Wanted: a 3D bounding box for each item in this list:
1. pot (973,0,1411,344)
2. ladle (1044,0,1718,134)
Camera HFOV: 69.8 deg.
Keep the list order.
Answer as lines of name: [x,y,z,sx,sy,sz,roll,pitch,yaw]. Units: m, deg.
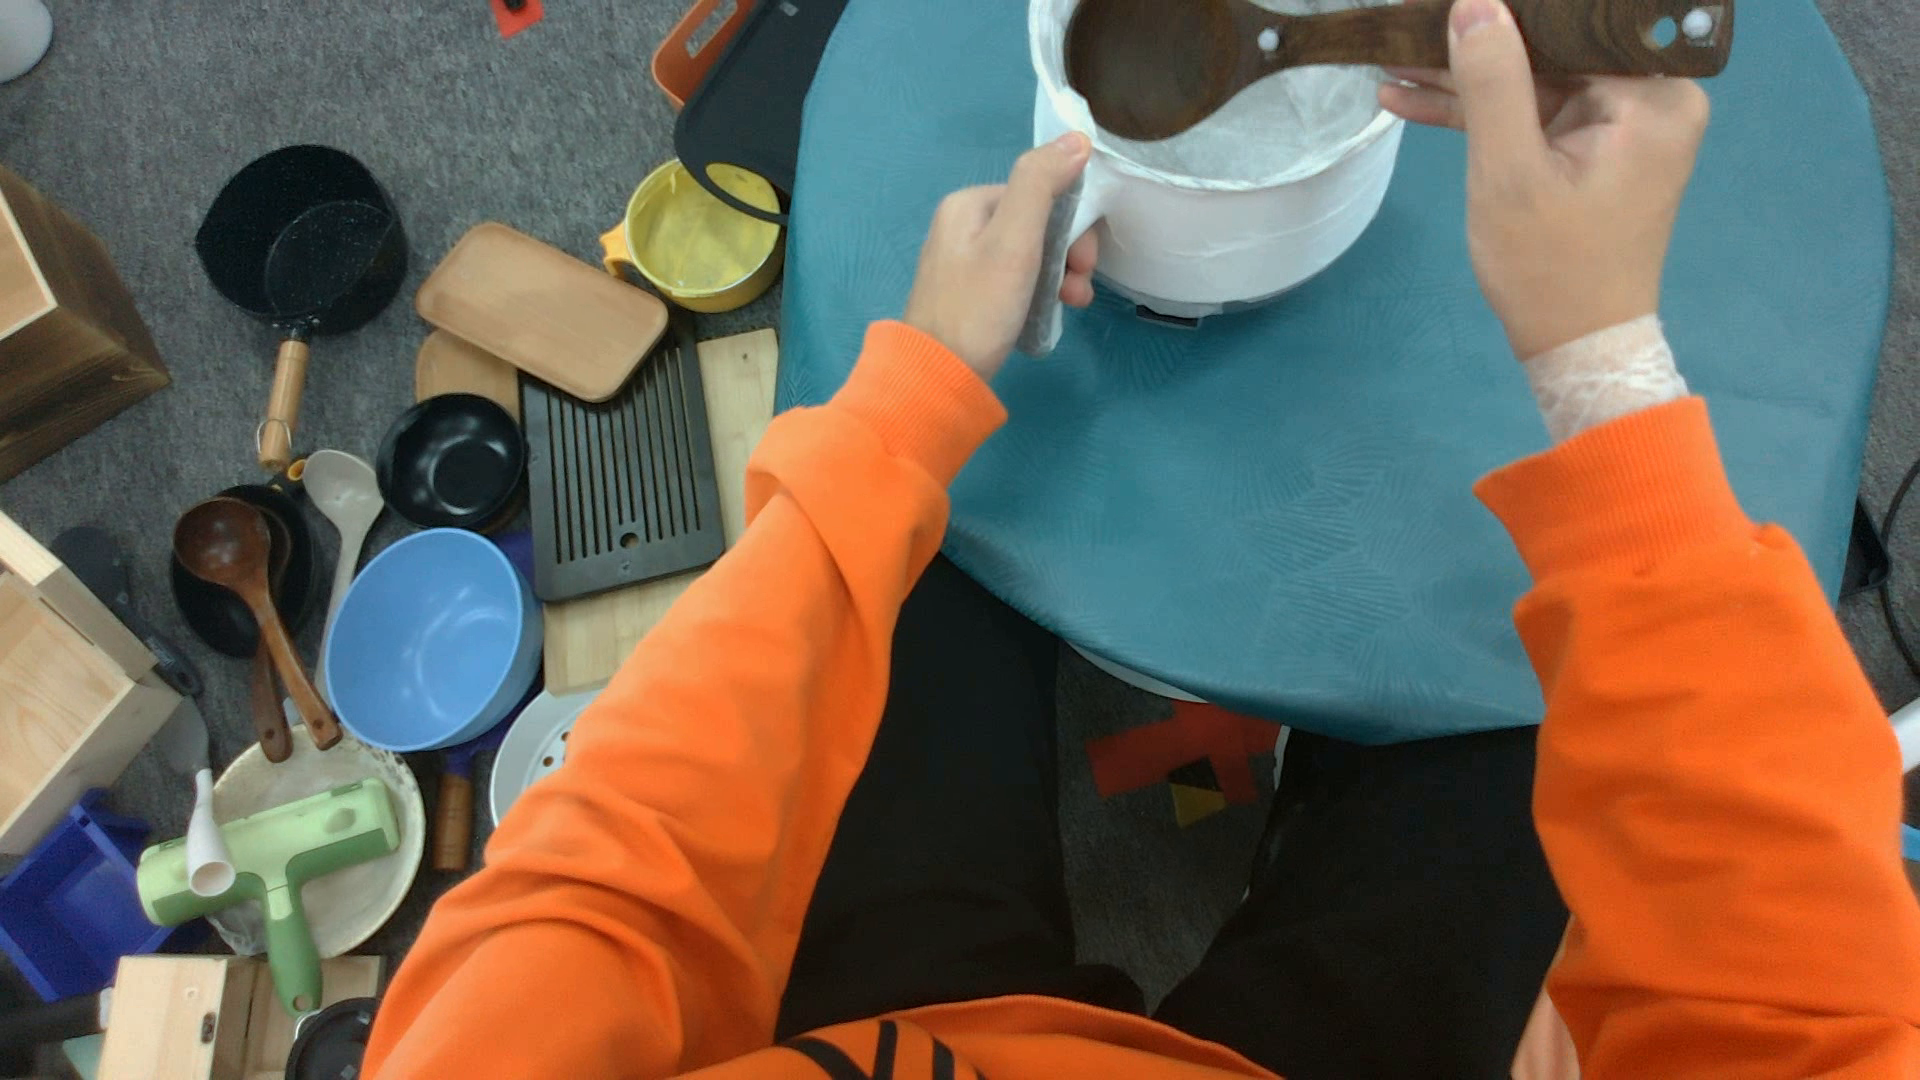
pot: [0.095,-0.197,0.660,0.179,0.136,0.234,40,79,16]
ladle: [0.130,-0.186,0.510,0.071,0.274,0.076,-15,114,-26]
